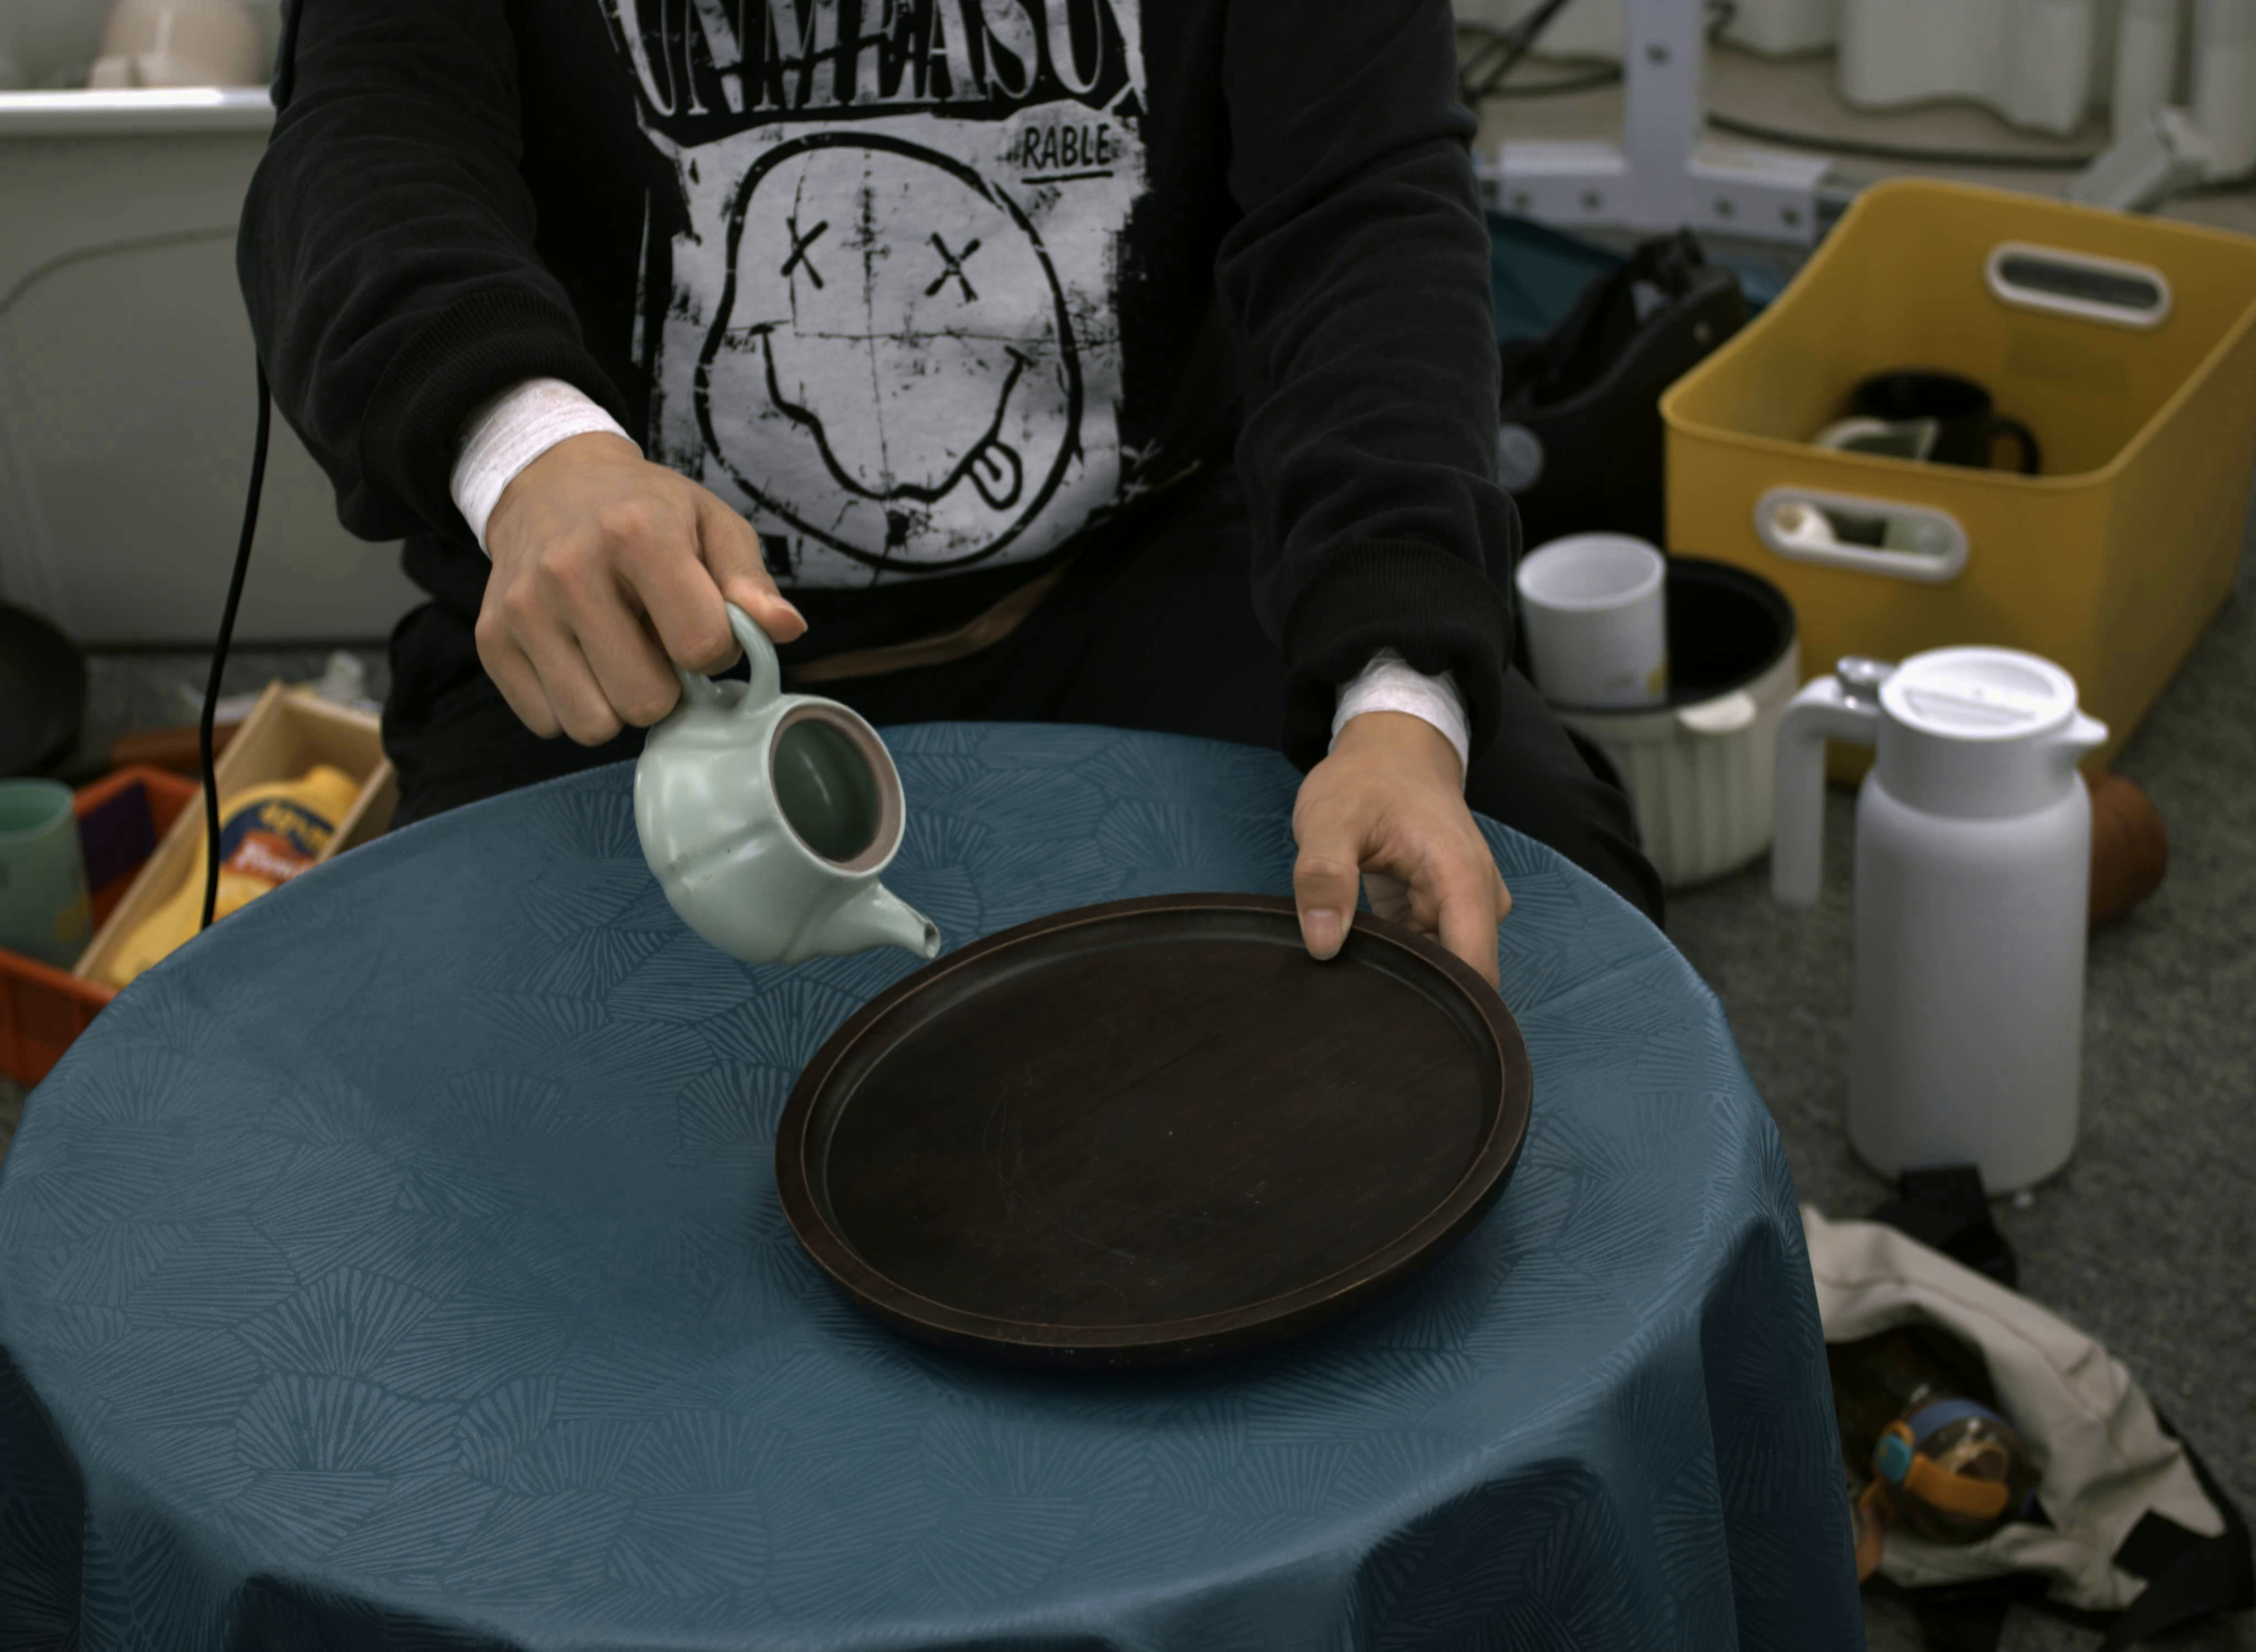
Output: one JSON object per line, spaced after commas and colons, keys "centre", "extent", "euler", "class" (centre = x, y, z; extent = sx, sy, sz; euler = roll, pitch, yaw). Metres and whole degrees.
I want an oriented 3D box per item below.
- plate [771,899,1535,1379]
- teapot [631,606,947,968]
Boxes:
{"centre": [0.008, 0.101, 1.846], "extent": [0.253, 0.028, 0.259], "euler": [-6, 33, 4], "class": "plate"}
{"centre": [-0.115, -0.008, 1.820], "extent": [0.060, 0.137, 0.098], "euler": [-24, 12, 39], "class": "teapot"}
